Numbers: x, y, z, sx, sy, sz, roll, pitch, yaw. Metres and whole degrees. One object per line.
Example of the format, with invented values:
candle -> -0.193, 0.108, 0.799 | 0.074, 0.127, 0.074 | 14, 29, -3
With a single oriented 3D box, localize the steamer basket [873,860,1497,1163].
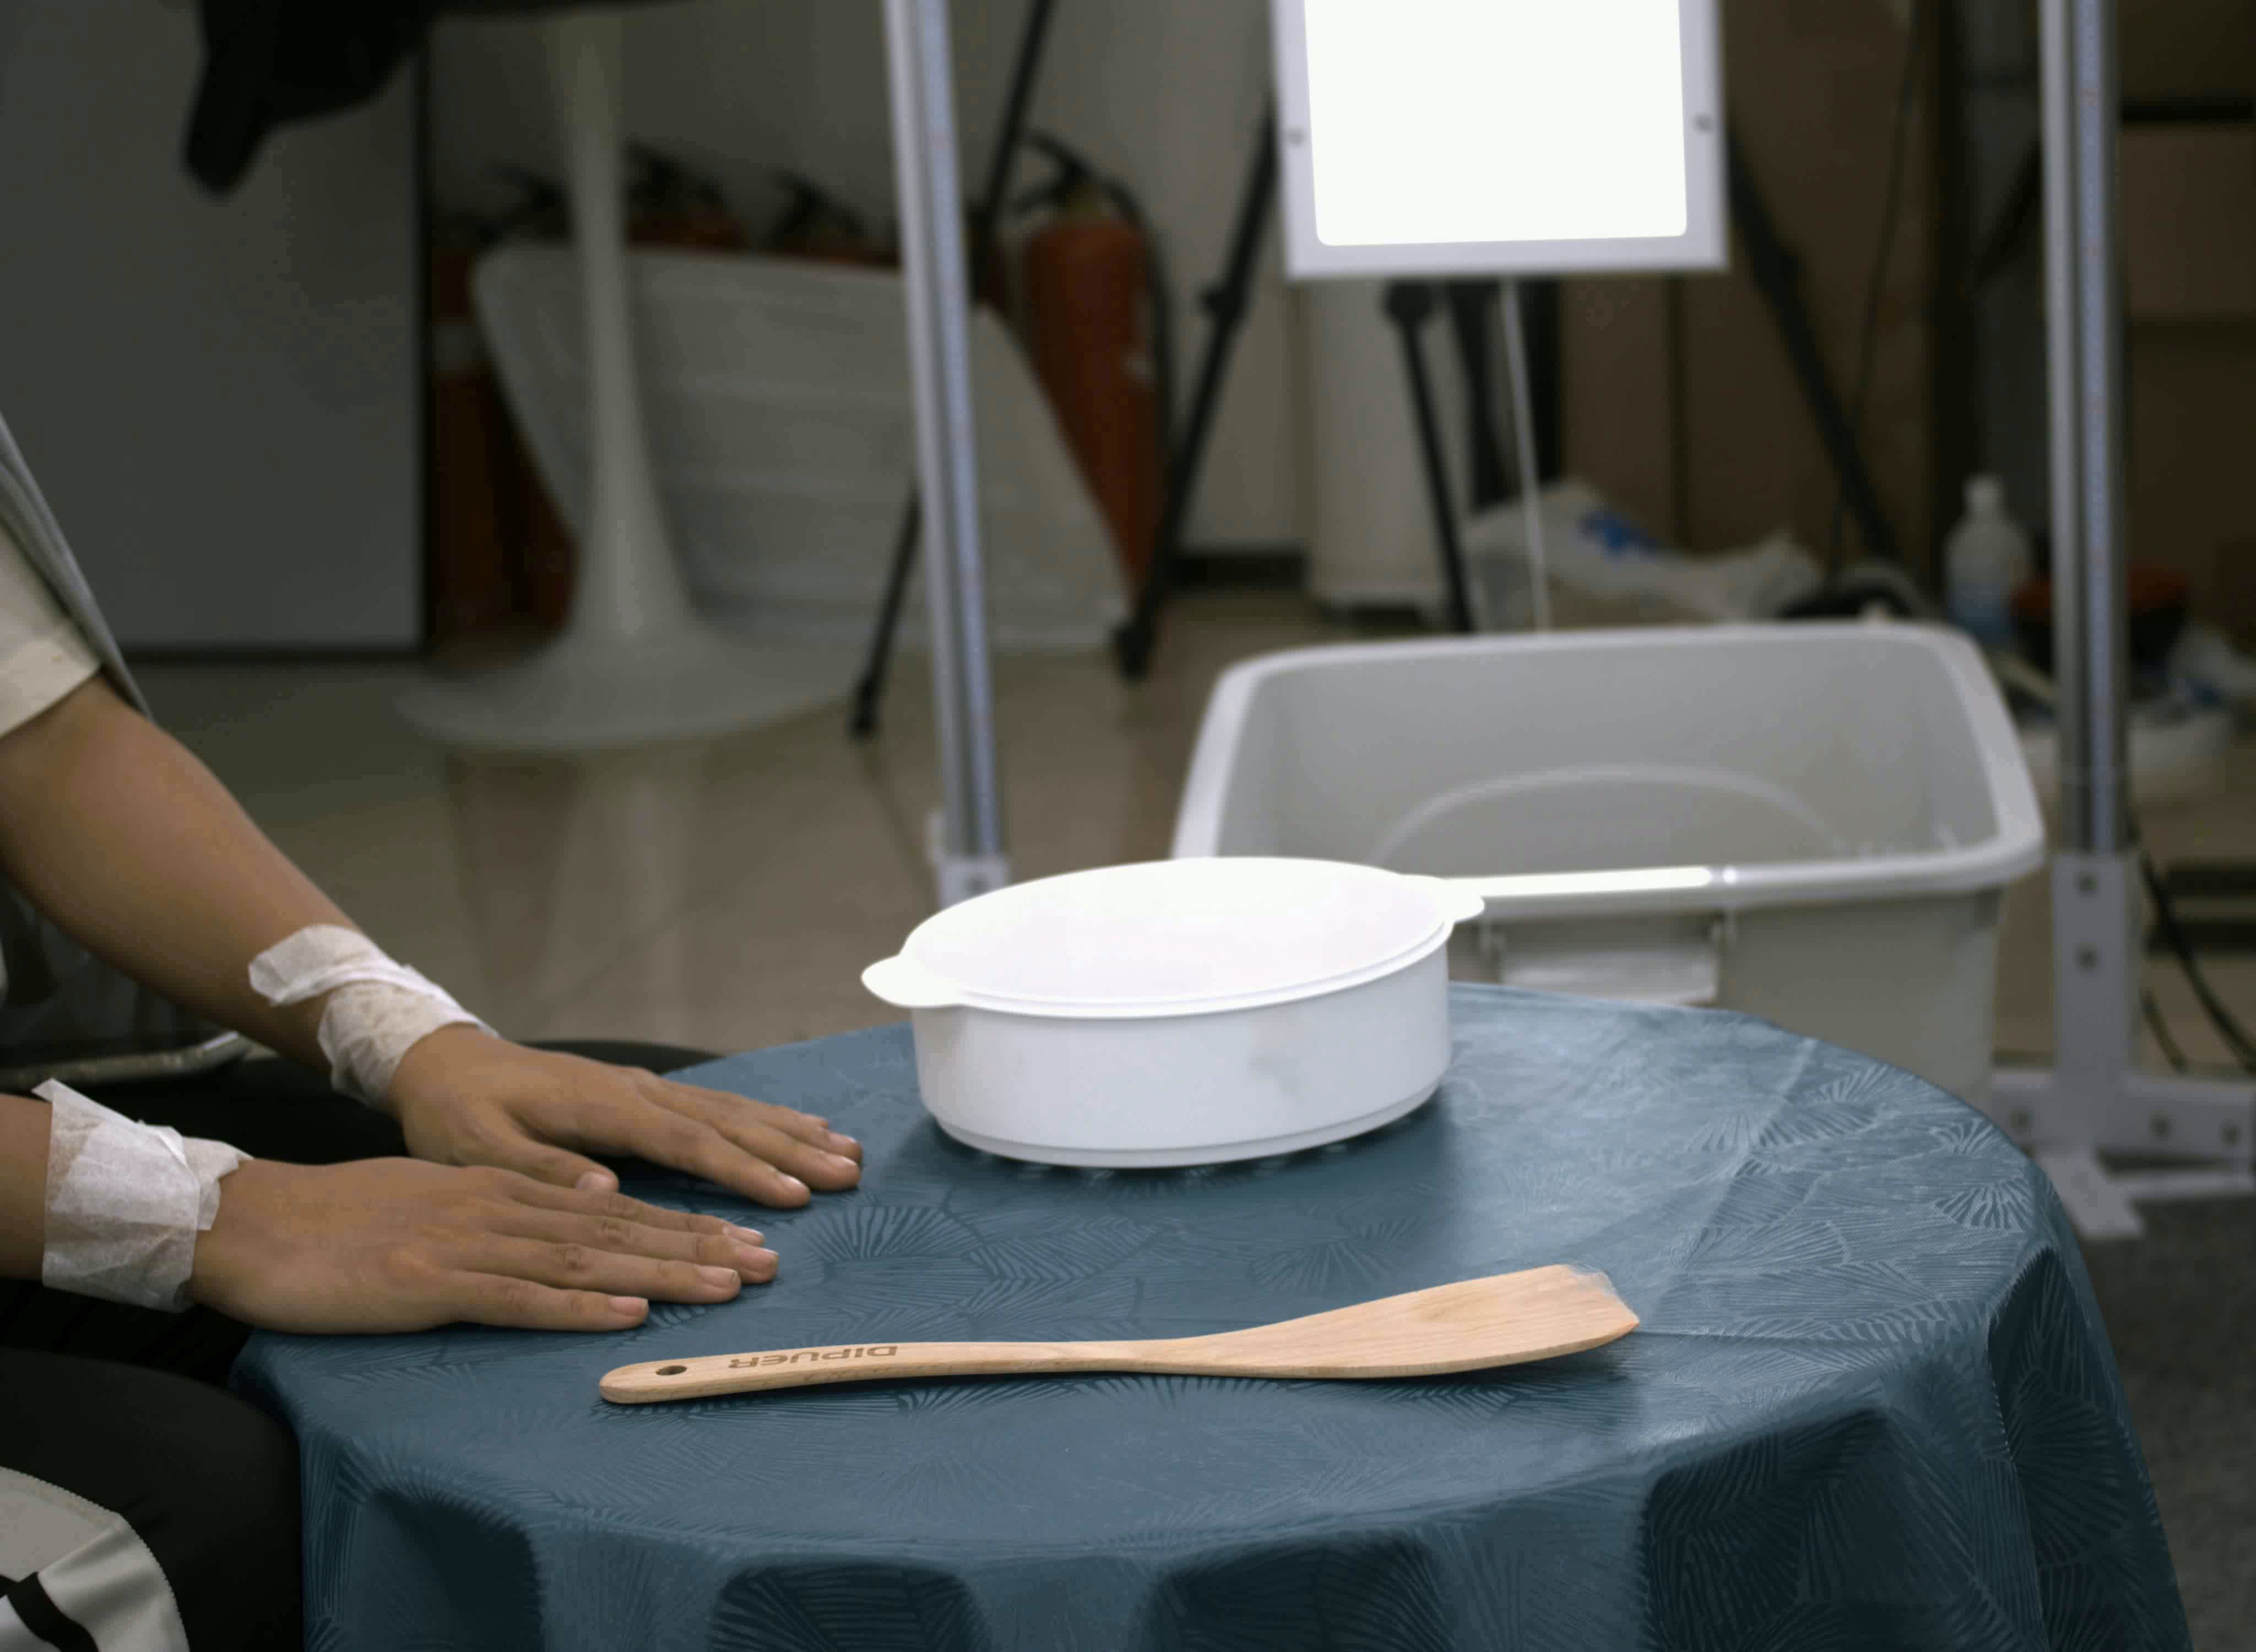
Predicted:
steamer basket -> 0.024, 0.068, 1.989 | 0.227, 0.069, 0.204 | -9, 13, -15

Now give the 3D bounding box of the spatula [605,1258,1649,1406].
spatula -> -0.002, 0.161, 1.719 | 0.328, 0.016, 0.079 | -4, 13, 6
